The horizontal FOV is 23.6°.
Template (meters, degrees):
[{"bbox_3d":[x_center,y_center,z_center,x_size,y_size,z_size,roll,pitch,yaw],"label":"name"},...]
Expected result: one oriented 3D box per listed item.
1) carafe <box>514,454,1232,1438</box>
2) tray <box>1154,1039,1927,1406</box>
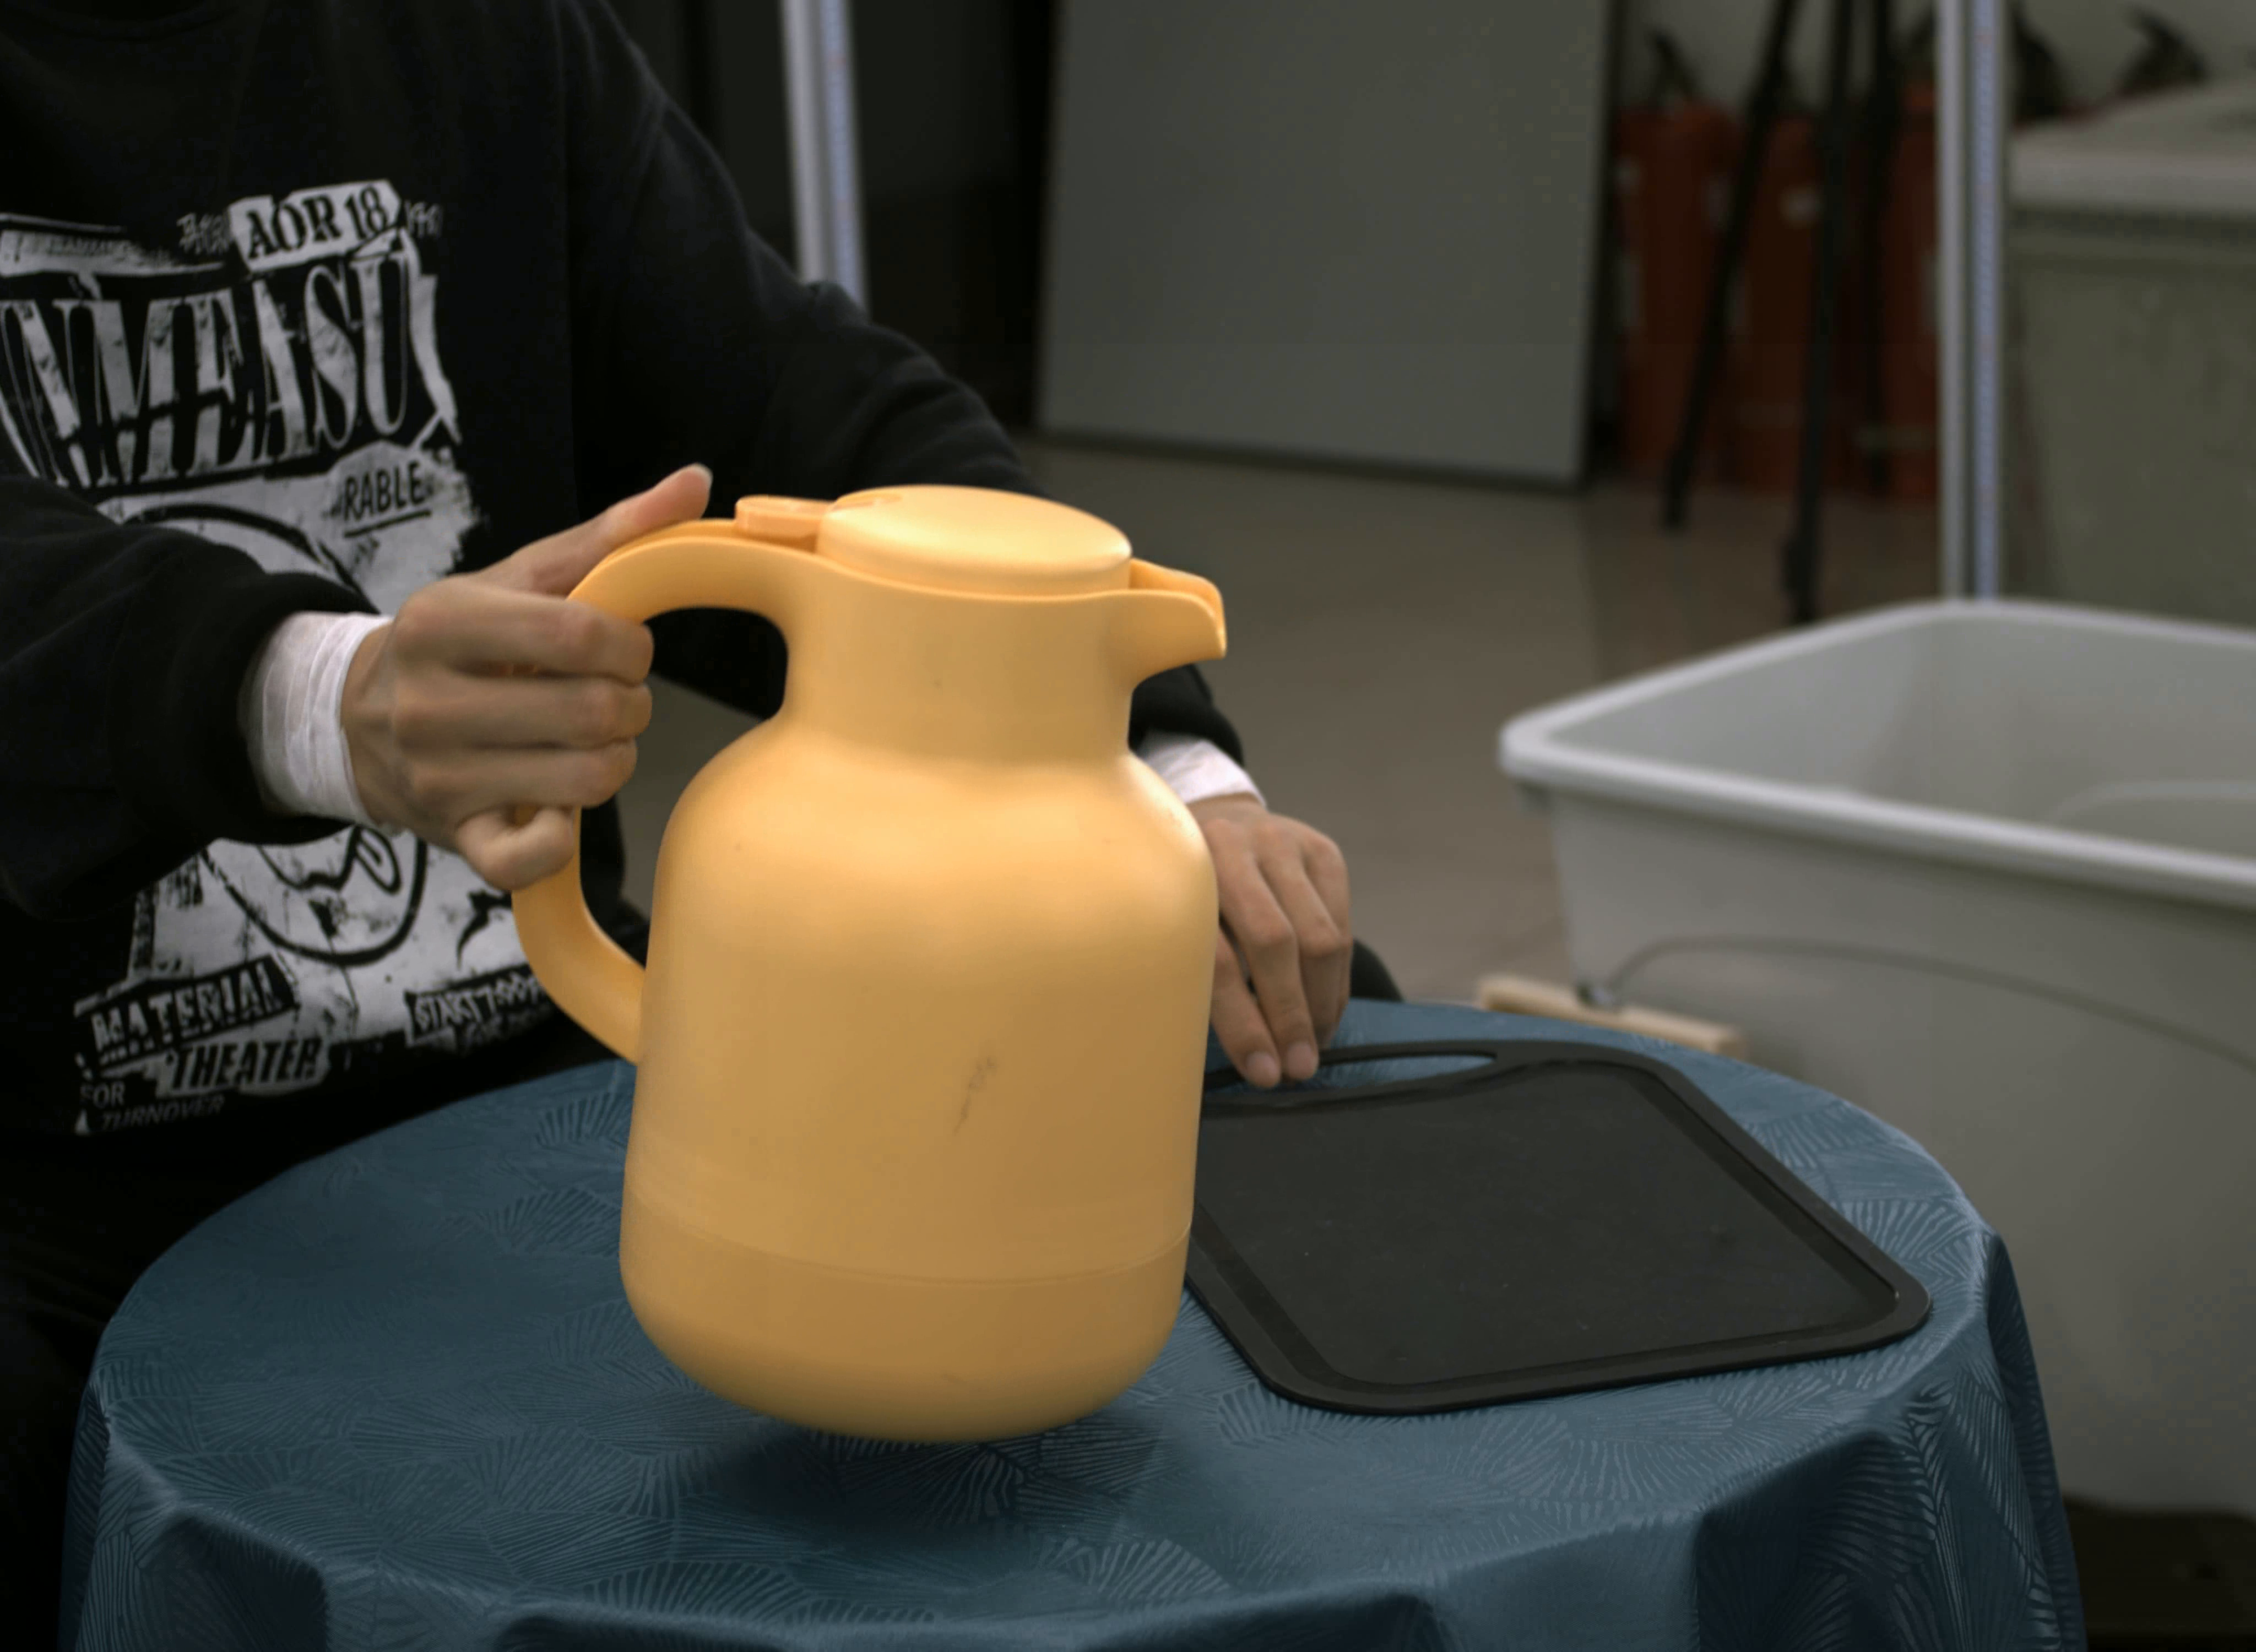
[{"bbox_3d":[-0.074,0.026,1.519,0.200,0.263,0.163,8,12,6],"label":"carafe"},{"bbox_3d":[0.111,0.119,1.715,0.207,0.010,0.328,-7,16,-11],"label":"tray"}]
